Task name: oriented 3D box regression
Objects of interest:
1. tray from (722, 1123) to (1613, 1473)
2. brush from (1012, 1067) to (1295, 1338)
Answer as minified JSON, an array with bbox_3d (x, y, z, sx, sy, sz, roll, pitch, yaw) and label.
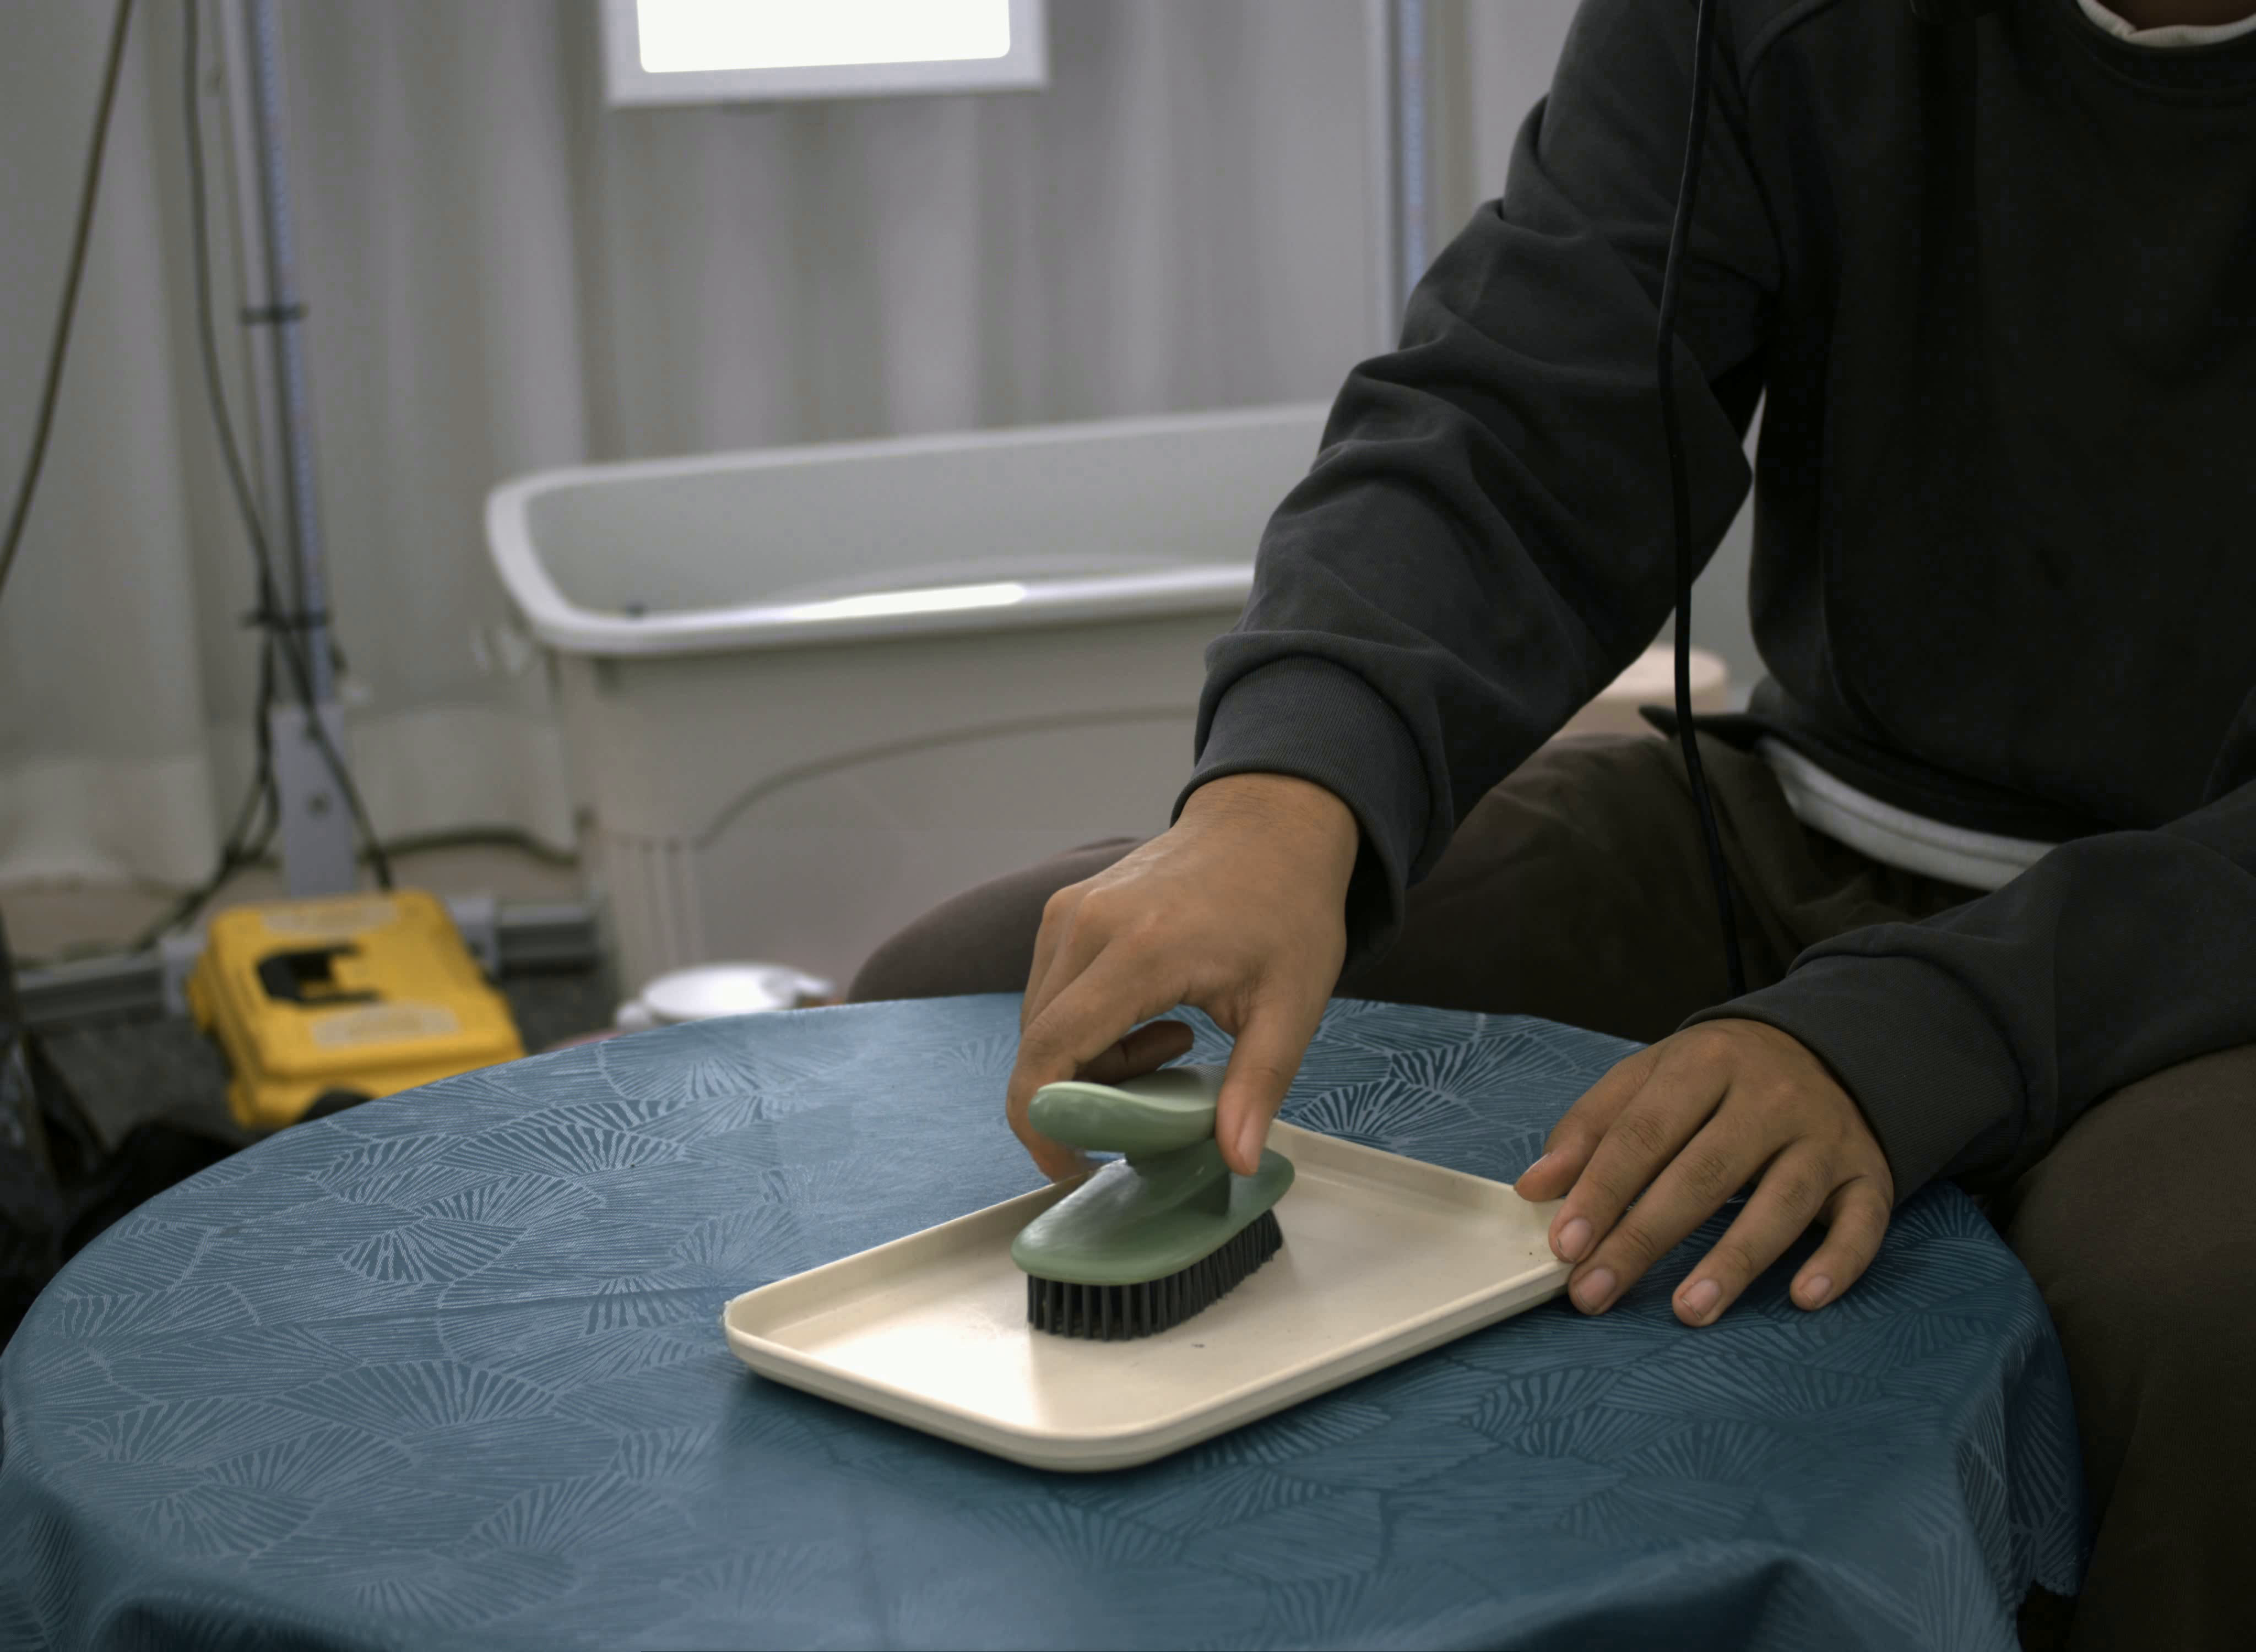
[{"bbox_3d":[0.014,0.136,1.598,0.239,0.017,0.172,-16,20,-42],"label":"tray"},{"bbox_3d":[0.007,0.110,1.622,0.060,0.076,0.122,5,2,24],"label":"brush"}]
